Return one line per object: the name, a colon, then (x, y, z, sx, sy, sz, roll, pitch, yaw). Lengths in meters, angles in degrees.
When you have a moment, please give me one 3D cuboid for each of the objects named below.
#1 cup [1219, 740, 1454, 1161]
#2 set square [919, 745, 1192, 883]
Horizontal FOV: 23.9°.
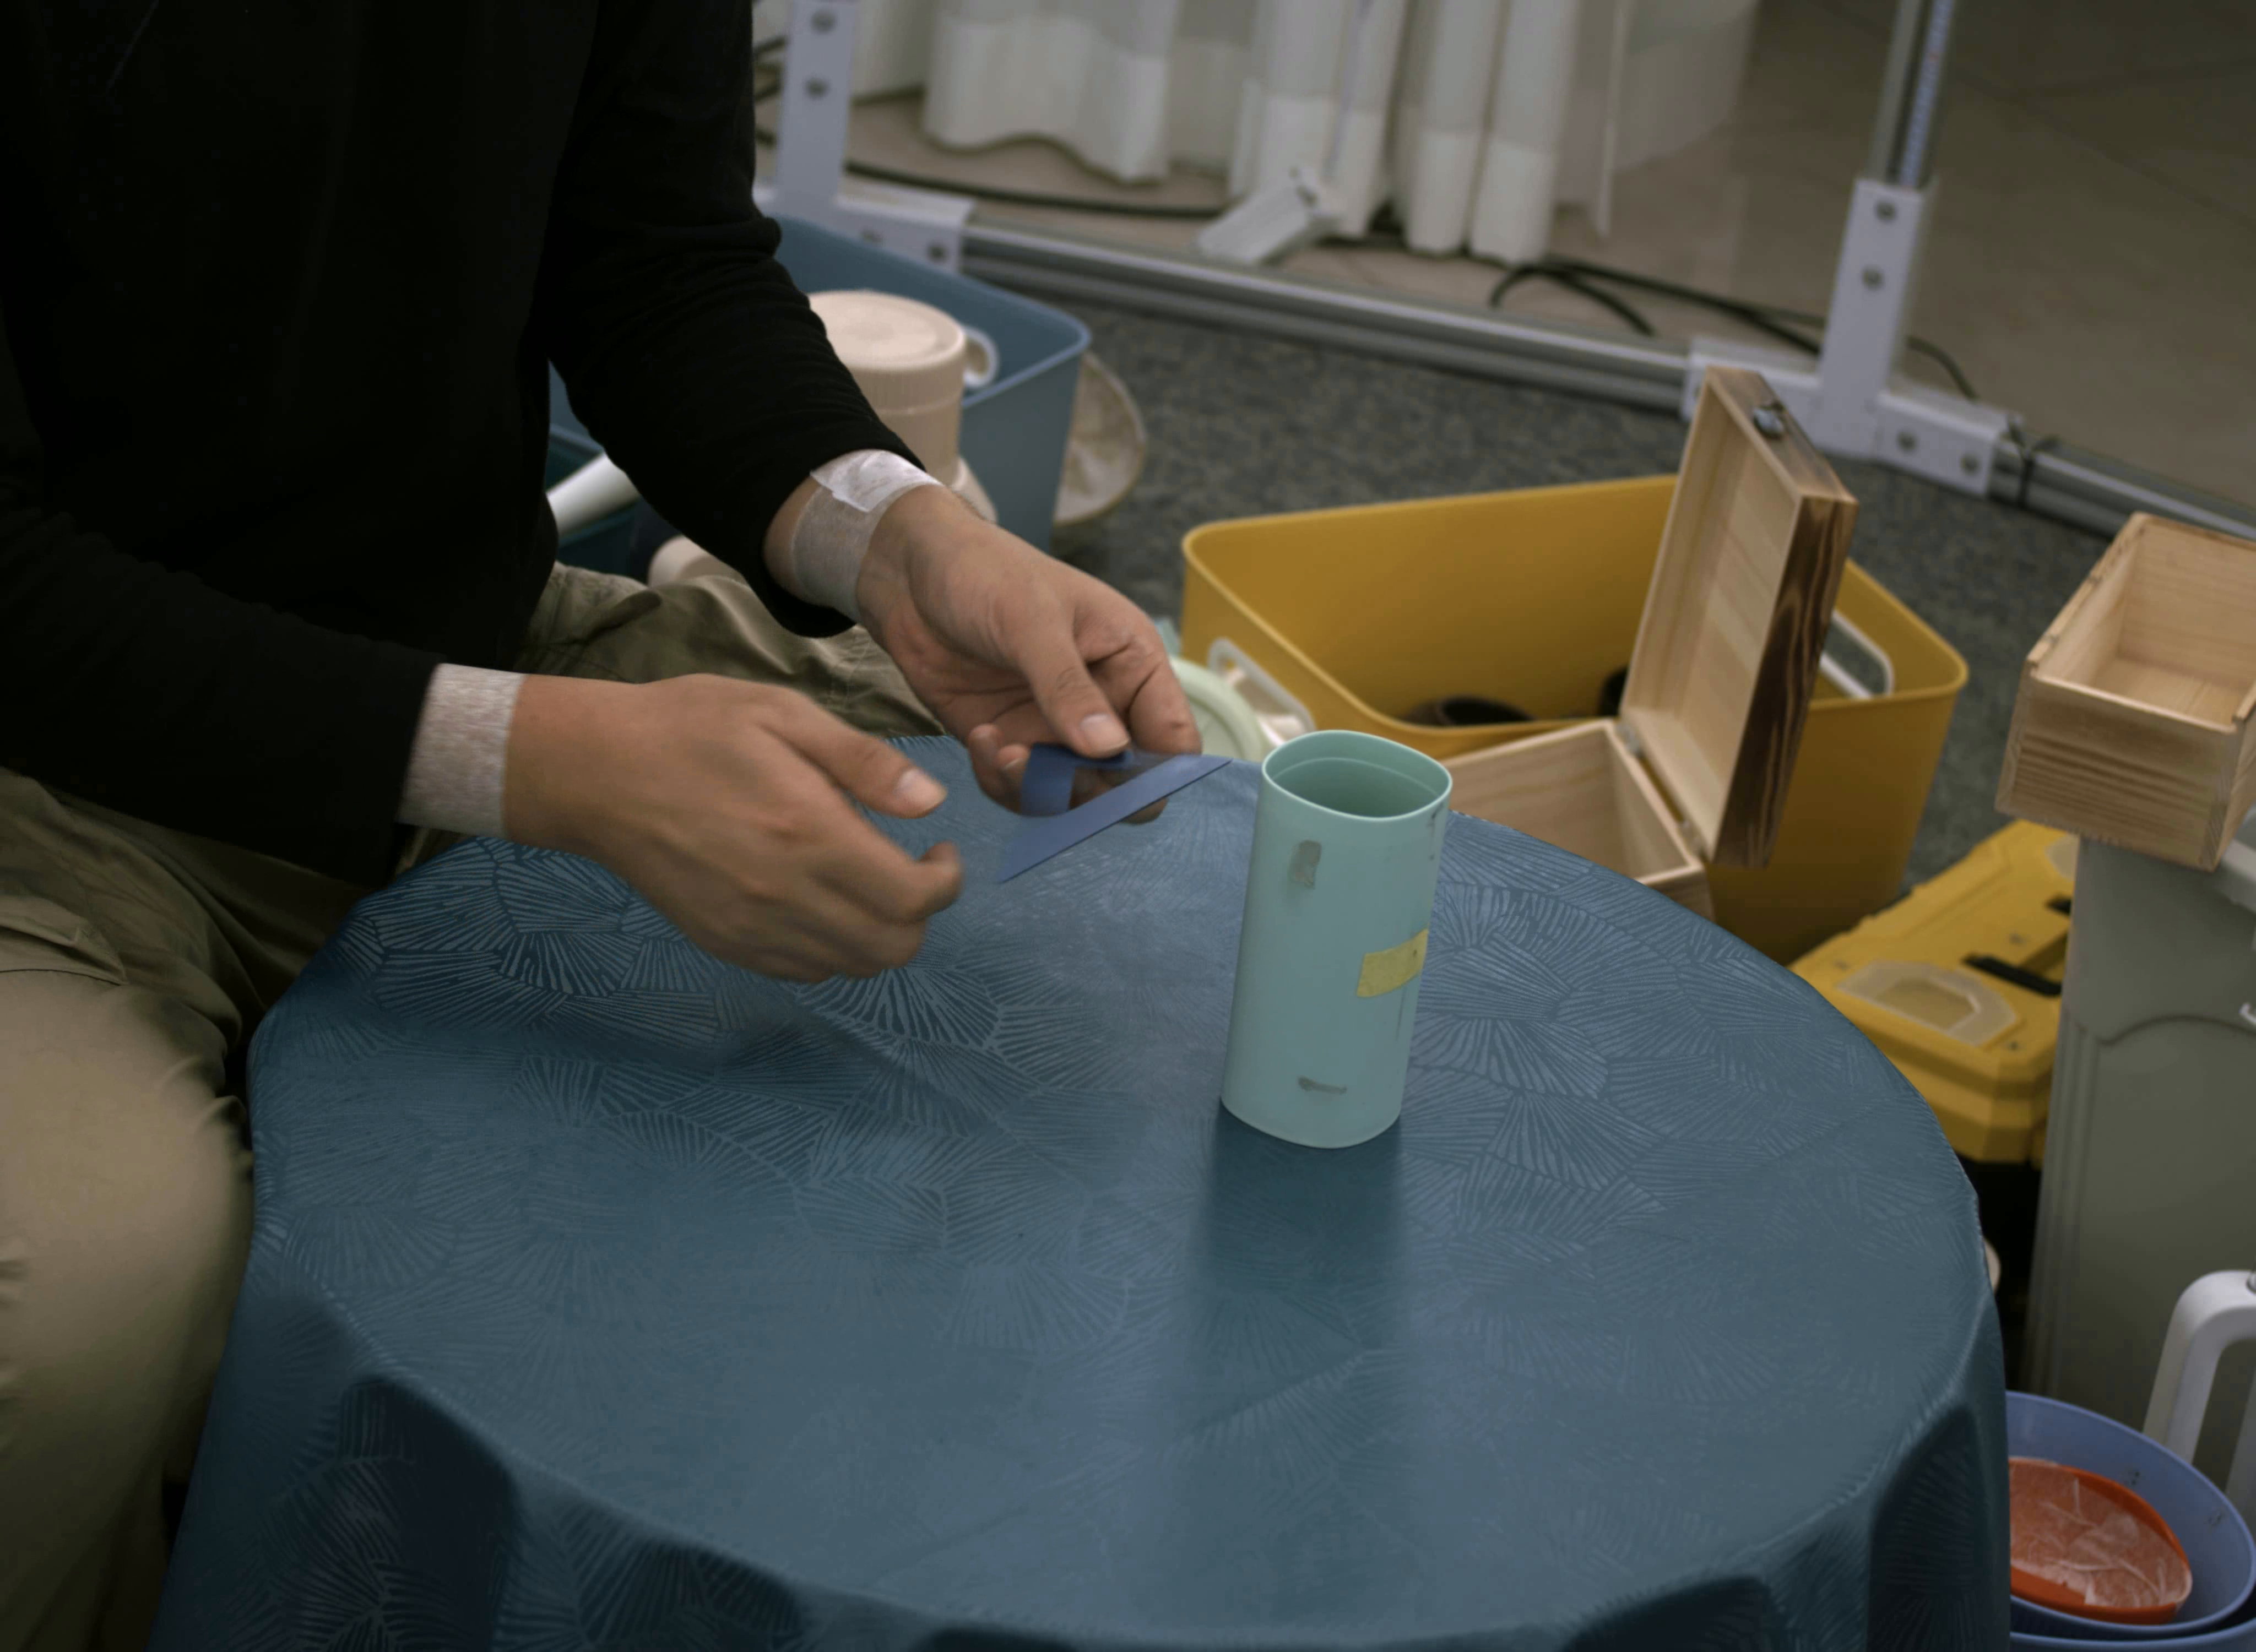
cup: (0.070, 0.042, 1.841, 0.066, 0.132, 0.067, 6, 27, -3)
set square: (-0.040, -0.009, 1.829, 0.061, 0.006, 0.131, 23, 31, 34)
